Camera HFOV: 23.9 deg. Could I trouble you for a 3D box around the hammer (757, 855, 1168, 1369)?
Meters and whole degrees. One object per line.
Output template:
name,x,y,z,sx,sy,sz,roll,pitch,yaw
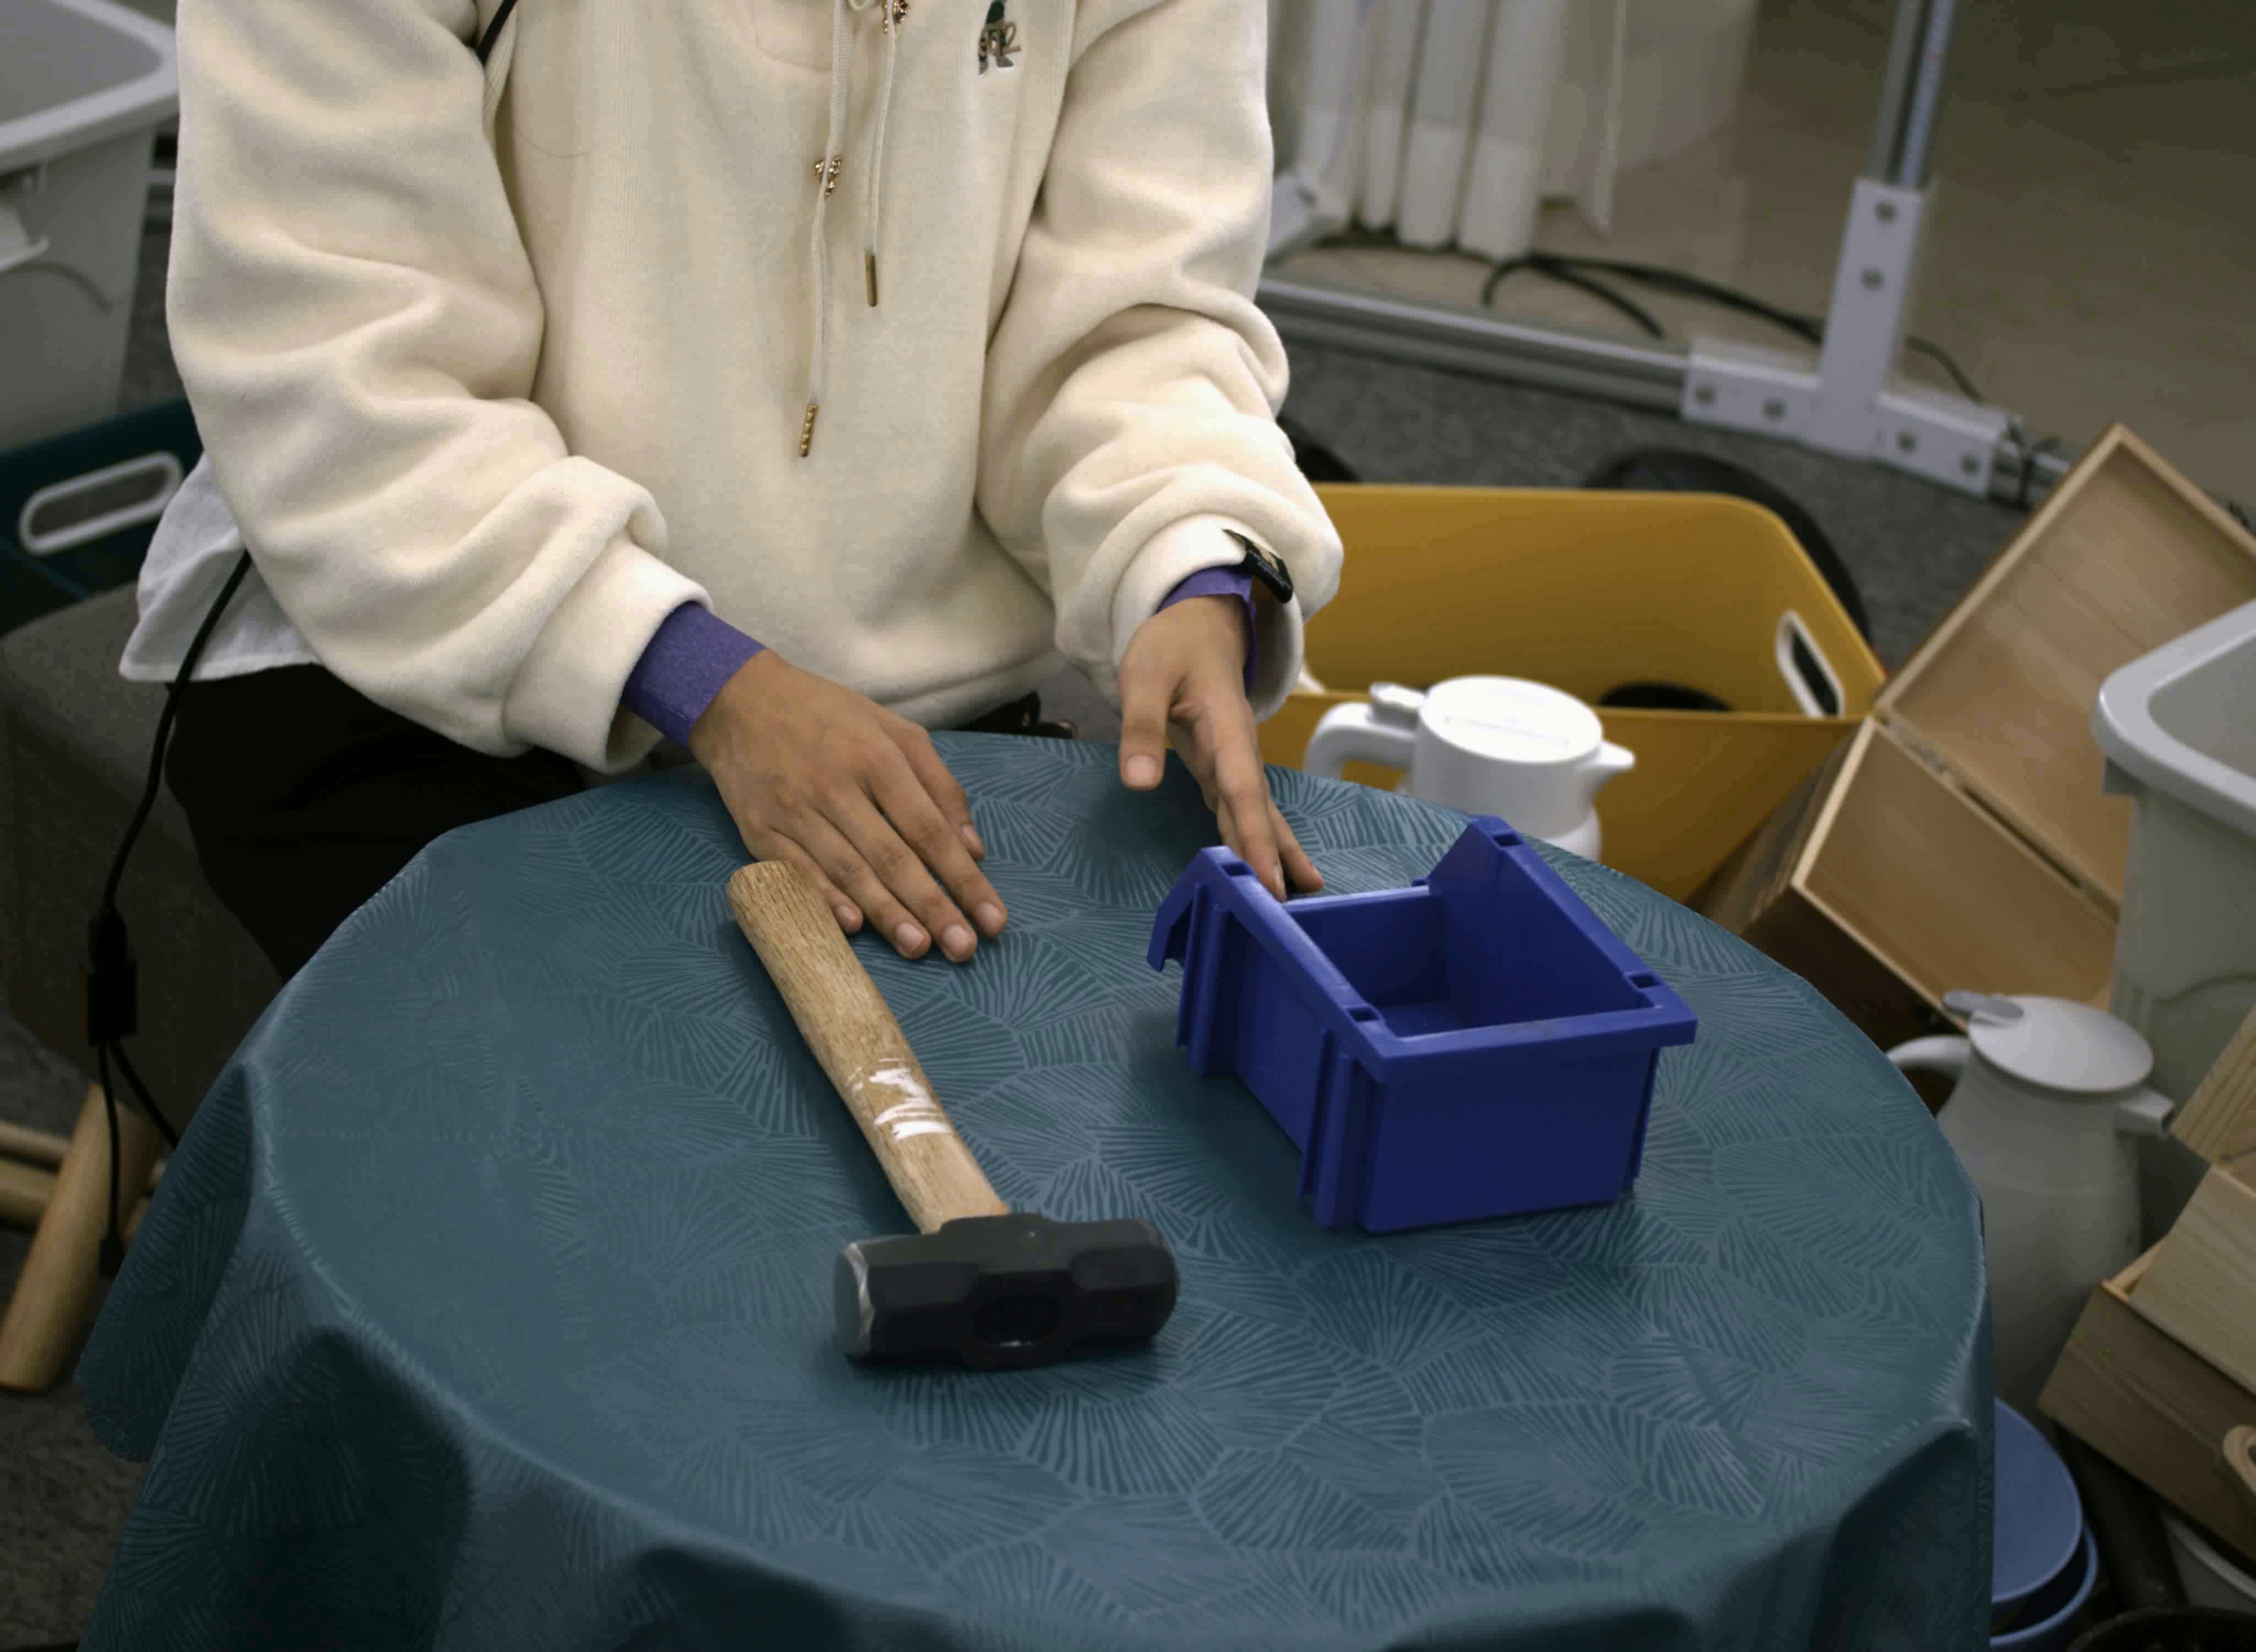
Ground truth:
hammer,-0.079,0.089,1.815,0.106,0.038,0.308,-2,27,-17

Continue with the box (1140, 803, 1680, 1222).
box,0.093,0.060,1.859,0.124,0.081,0.181,-5,32,-22
